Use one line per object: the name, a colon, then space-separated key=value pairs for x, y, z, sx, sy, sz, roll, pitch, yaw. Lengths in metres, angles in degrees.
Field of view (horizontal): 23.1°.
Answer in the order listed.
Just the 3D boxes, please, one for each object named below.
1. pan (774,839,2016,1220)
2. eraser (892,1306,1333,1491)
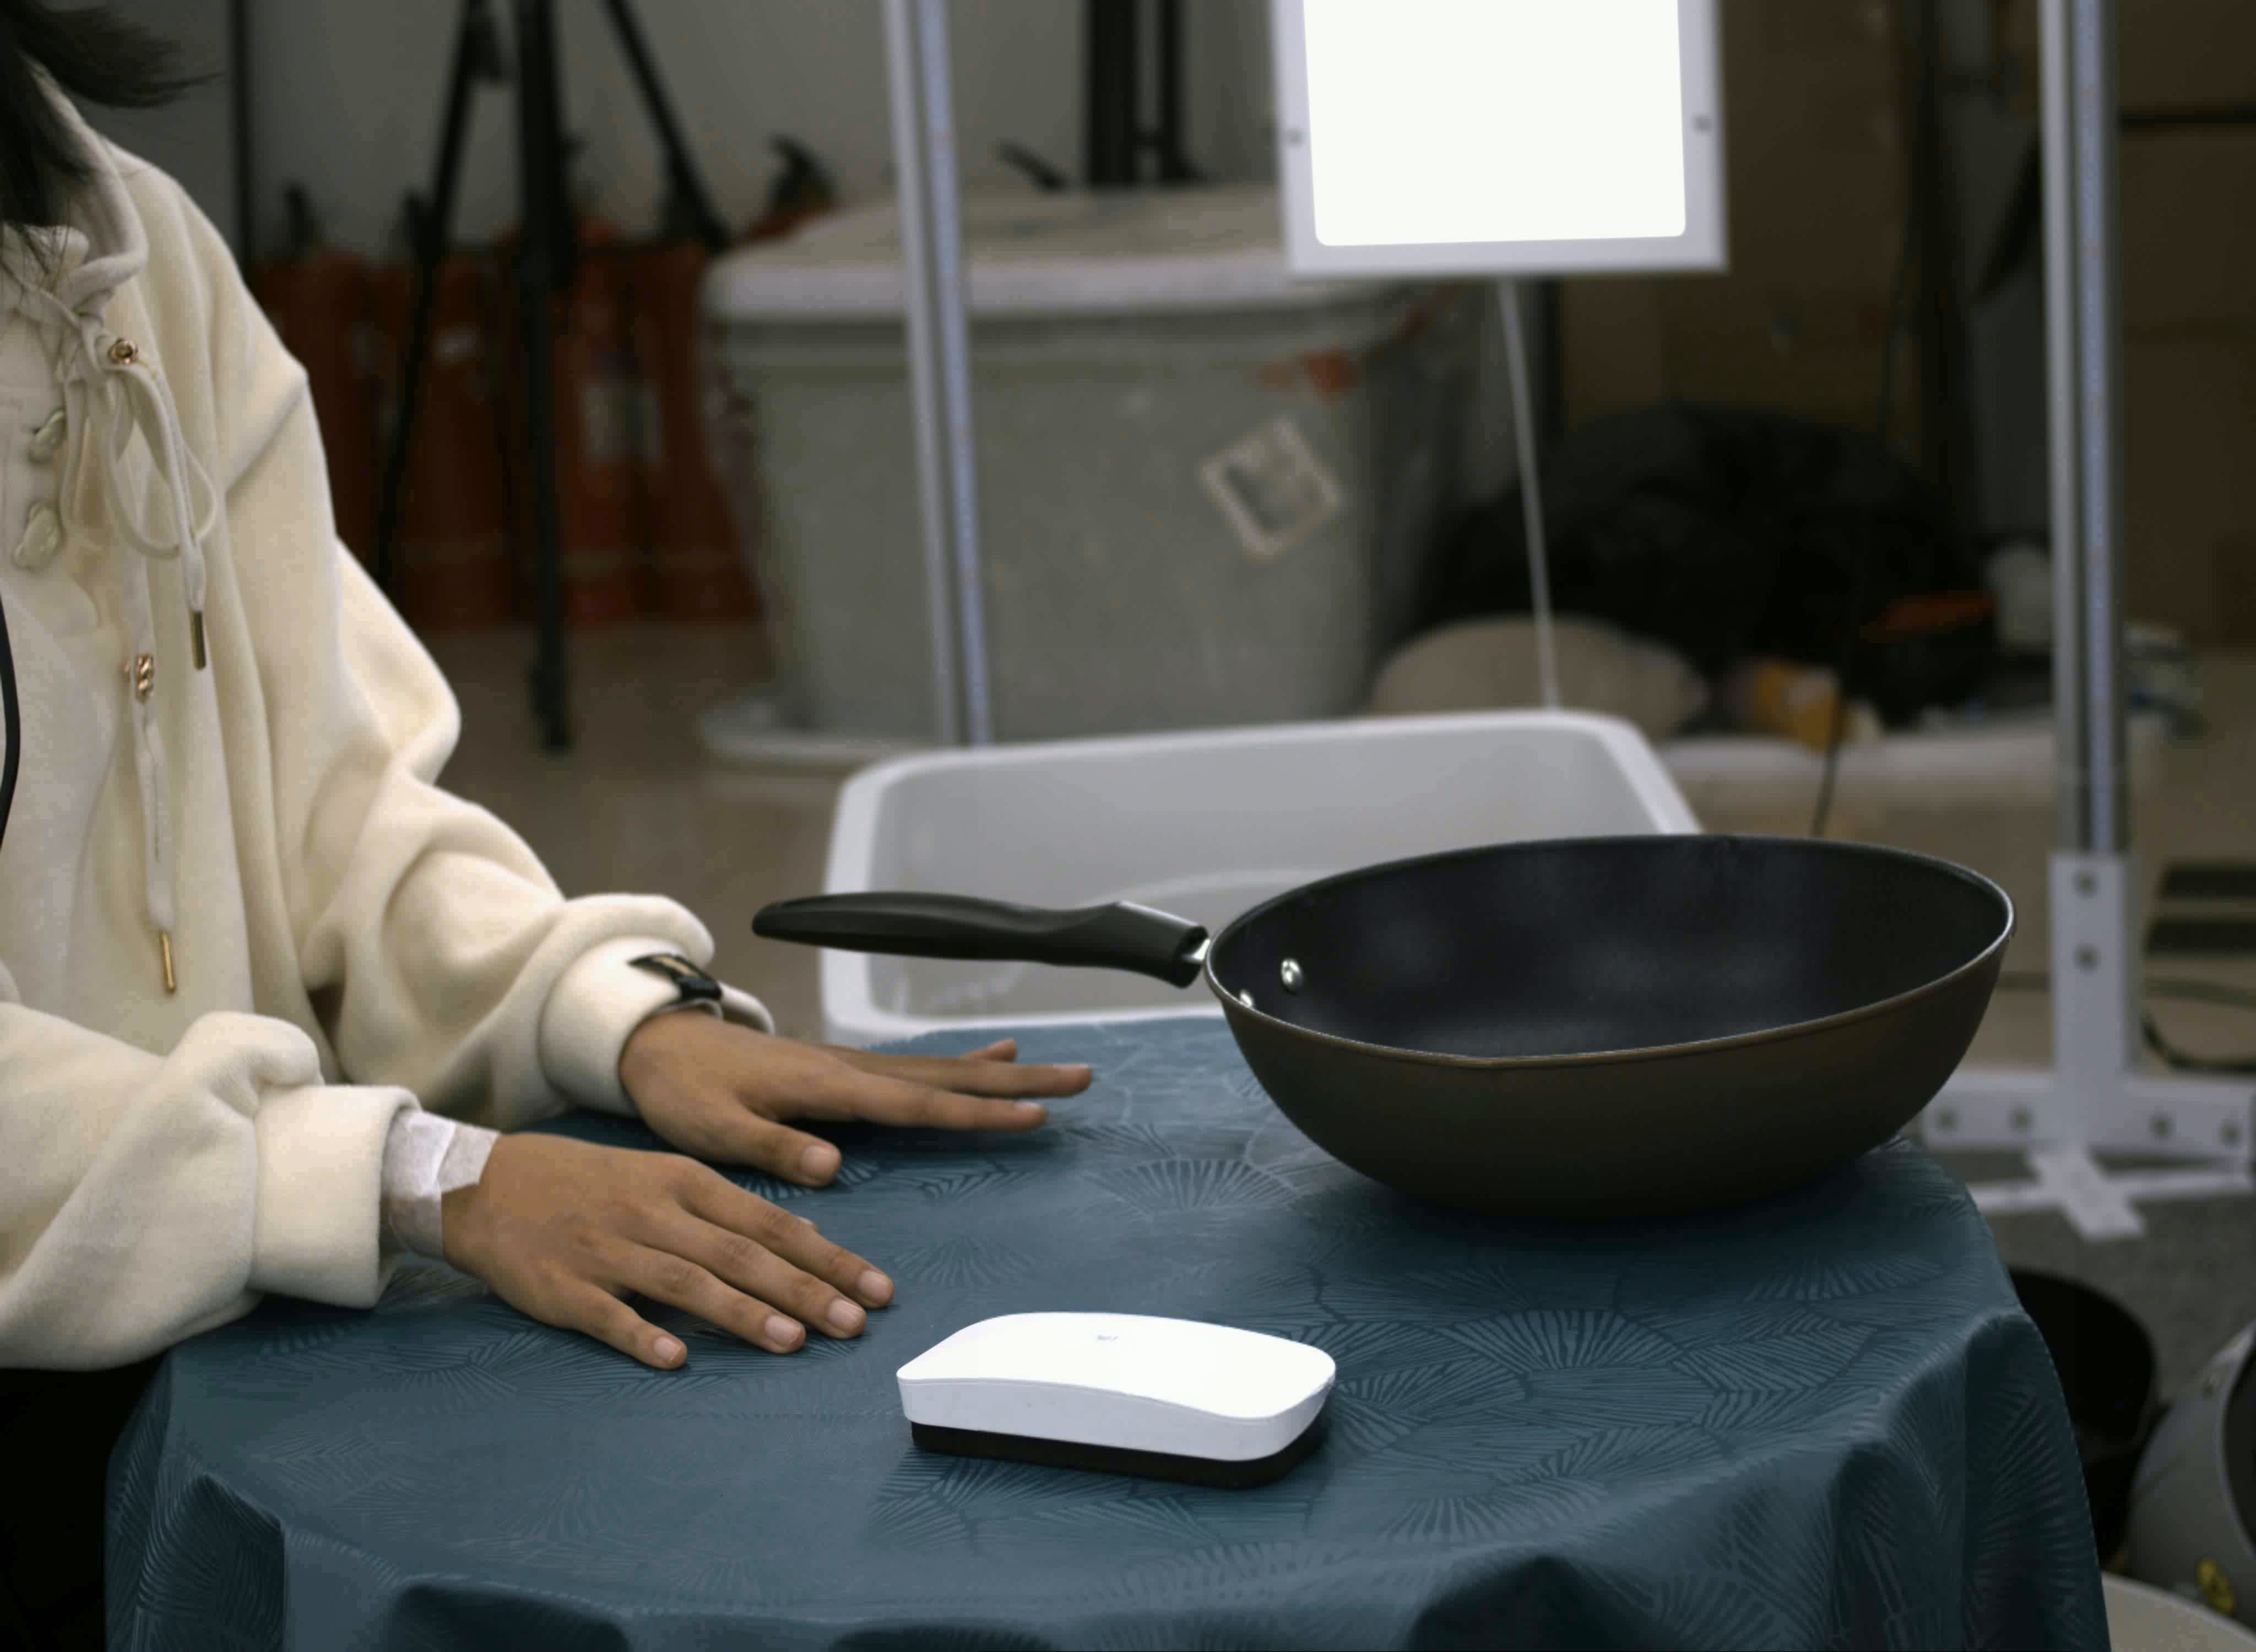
pan: x=0.084 y=0.072 z=1.918 sx=0.471 sy=0.087 sz=0.282 roll=0 pitch=14 yaw=26
eraser: x=-0.004 y=0.171 z=1.656 sx=0.134 sy=0.034 sz=0.062 roll=4 pitch=13 yaw=31
